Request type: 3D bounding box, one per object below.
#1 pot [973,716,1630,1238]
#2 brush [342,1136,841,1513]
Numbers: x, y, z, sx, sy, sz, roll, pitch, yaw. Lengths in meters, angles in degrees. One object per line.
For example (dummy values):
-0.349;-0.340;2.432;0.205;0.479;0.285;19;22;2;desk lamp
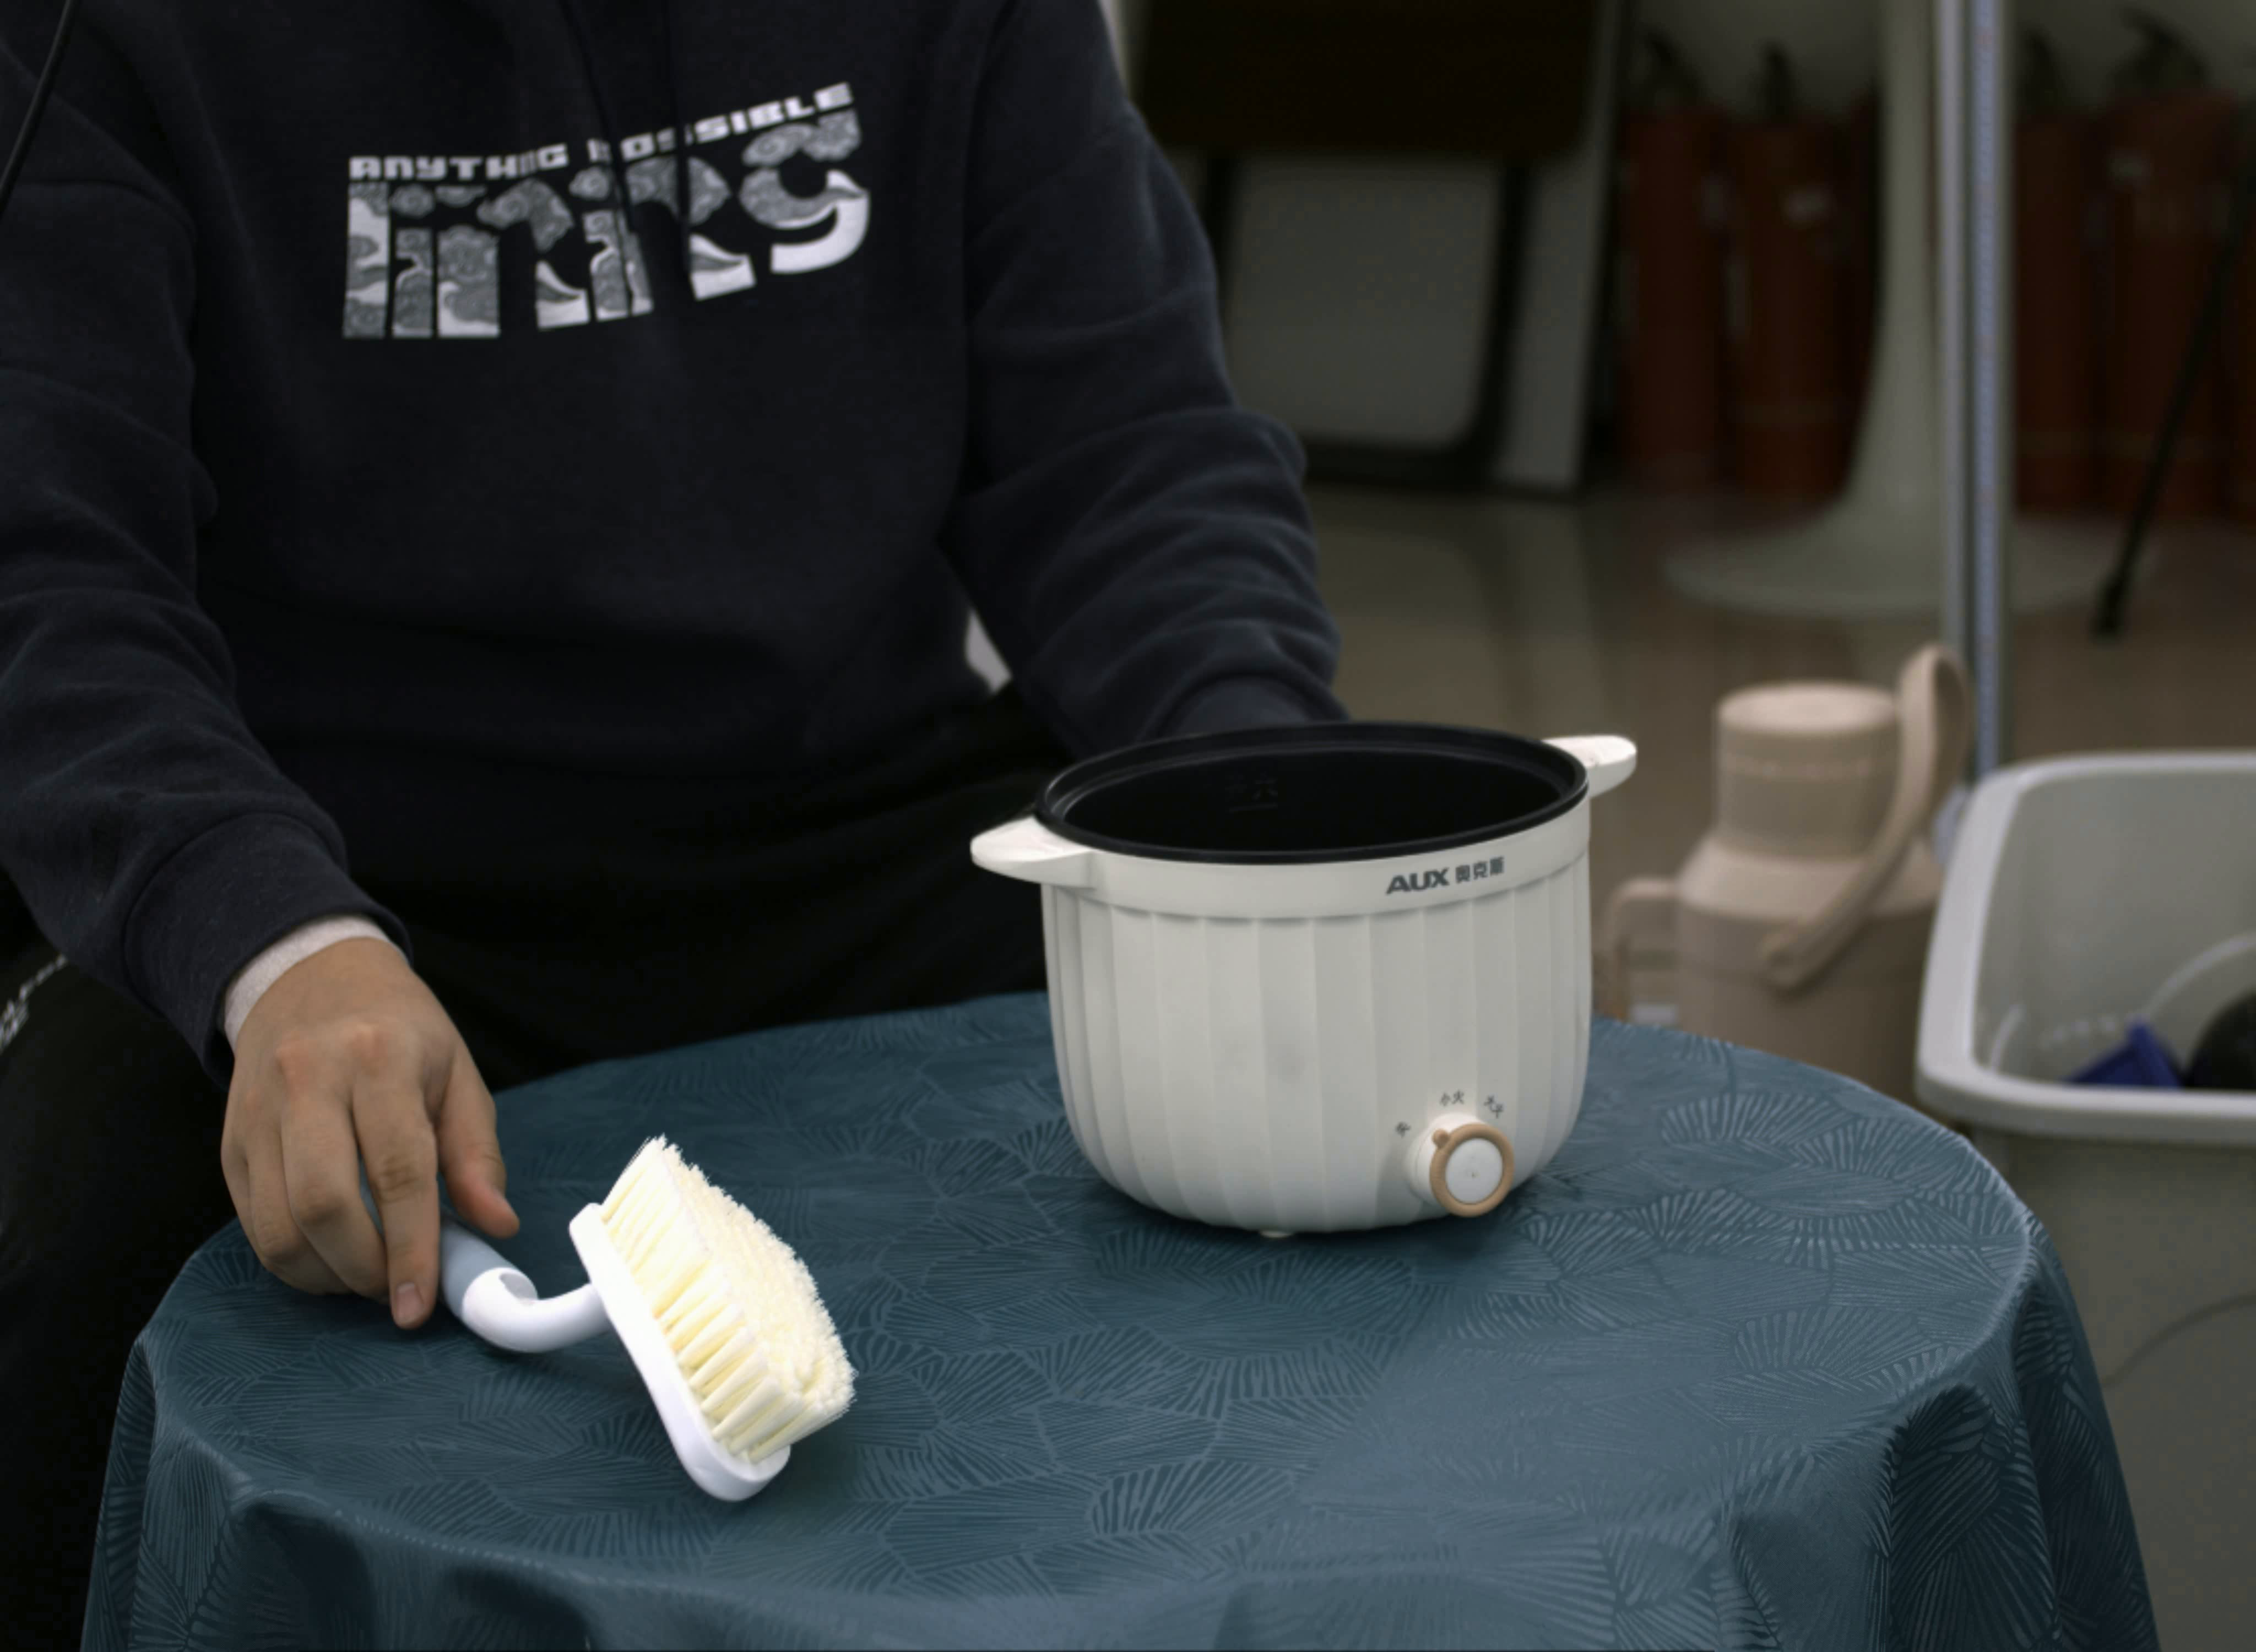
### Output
0.066;0.050;1.751;0.235;0.144;0.192;-11;12;-24;pot
-0.163;0.121;1.645;0.083;0.084;0.329;-15;18;-21;brush
